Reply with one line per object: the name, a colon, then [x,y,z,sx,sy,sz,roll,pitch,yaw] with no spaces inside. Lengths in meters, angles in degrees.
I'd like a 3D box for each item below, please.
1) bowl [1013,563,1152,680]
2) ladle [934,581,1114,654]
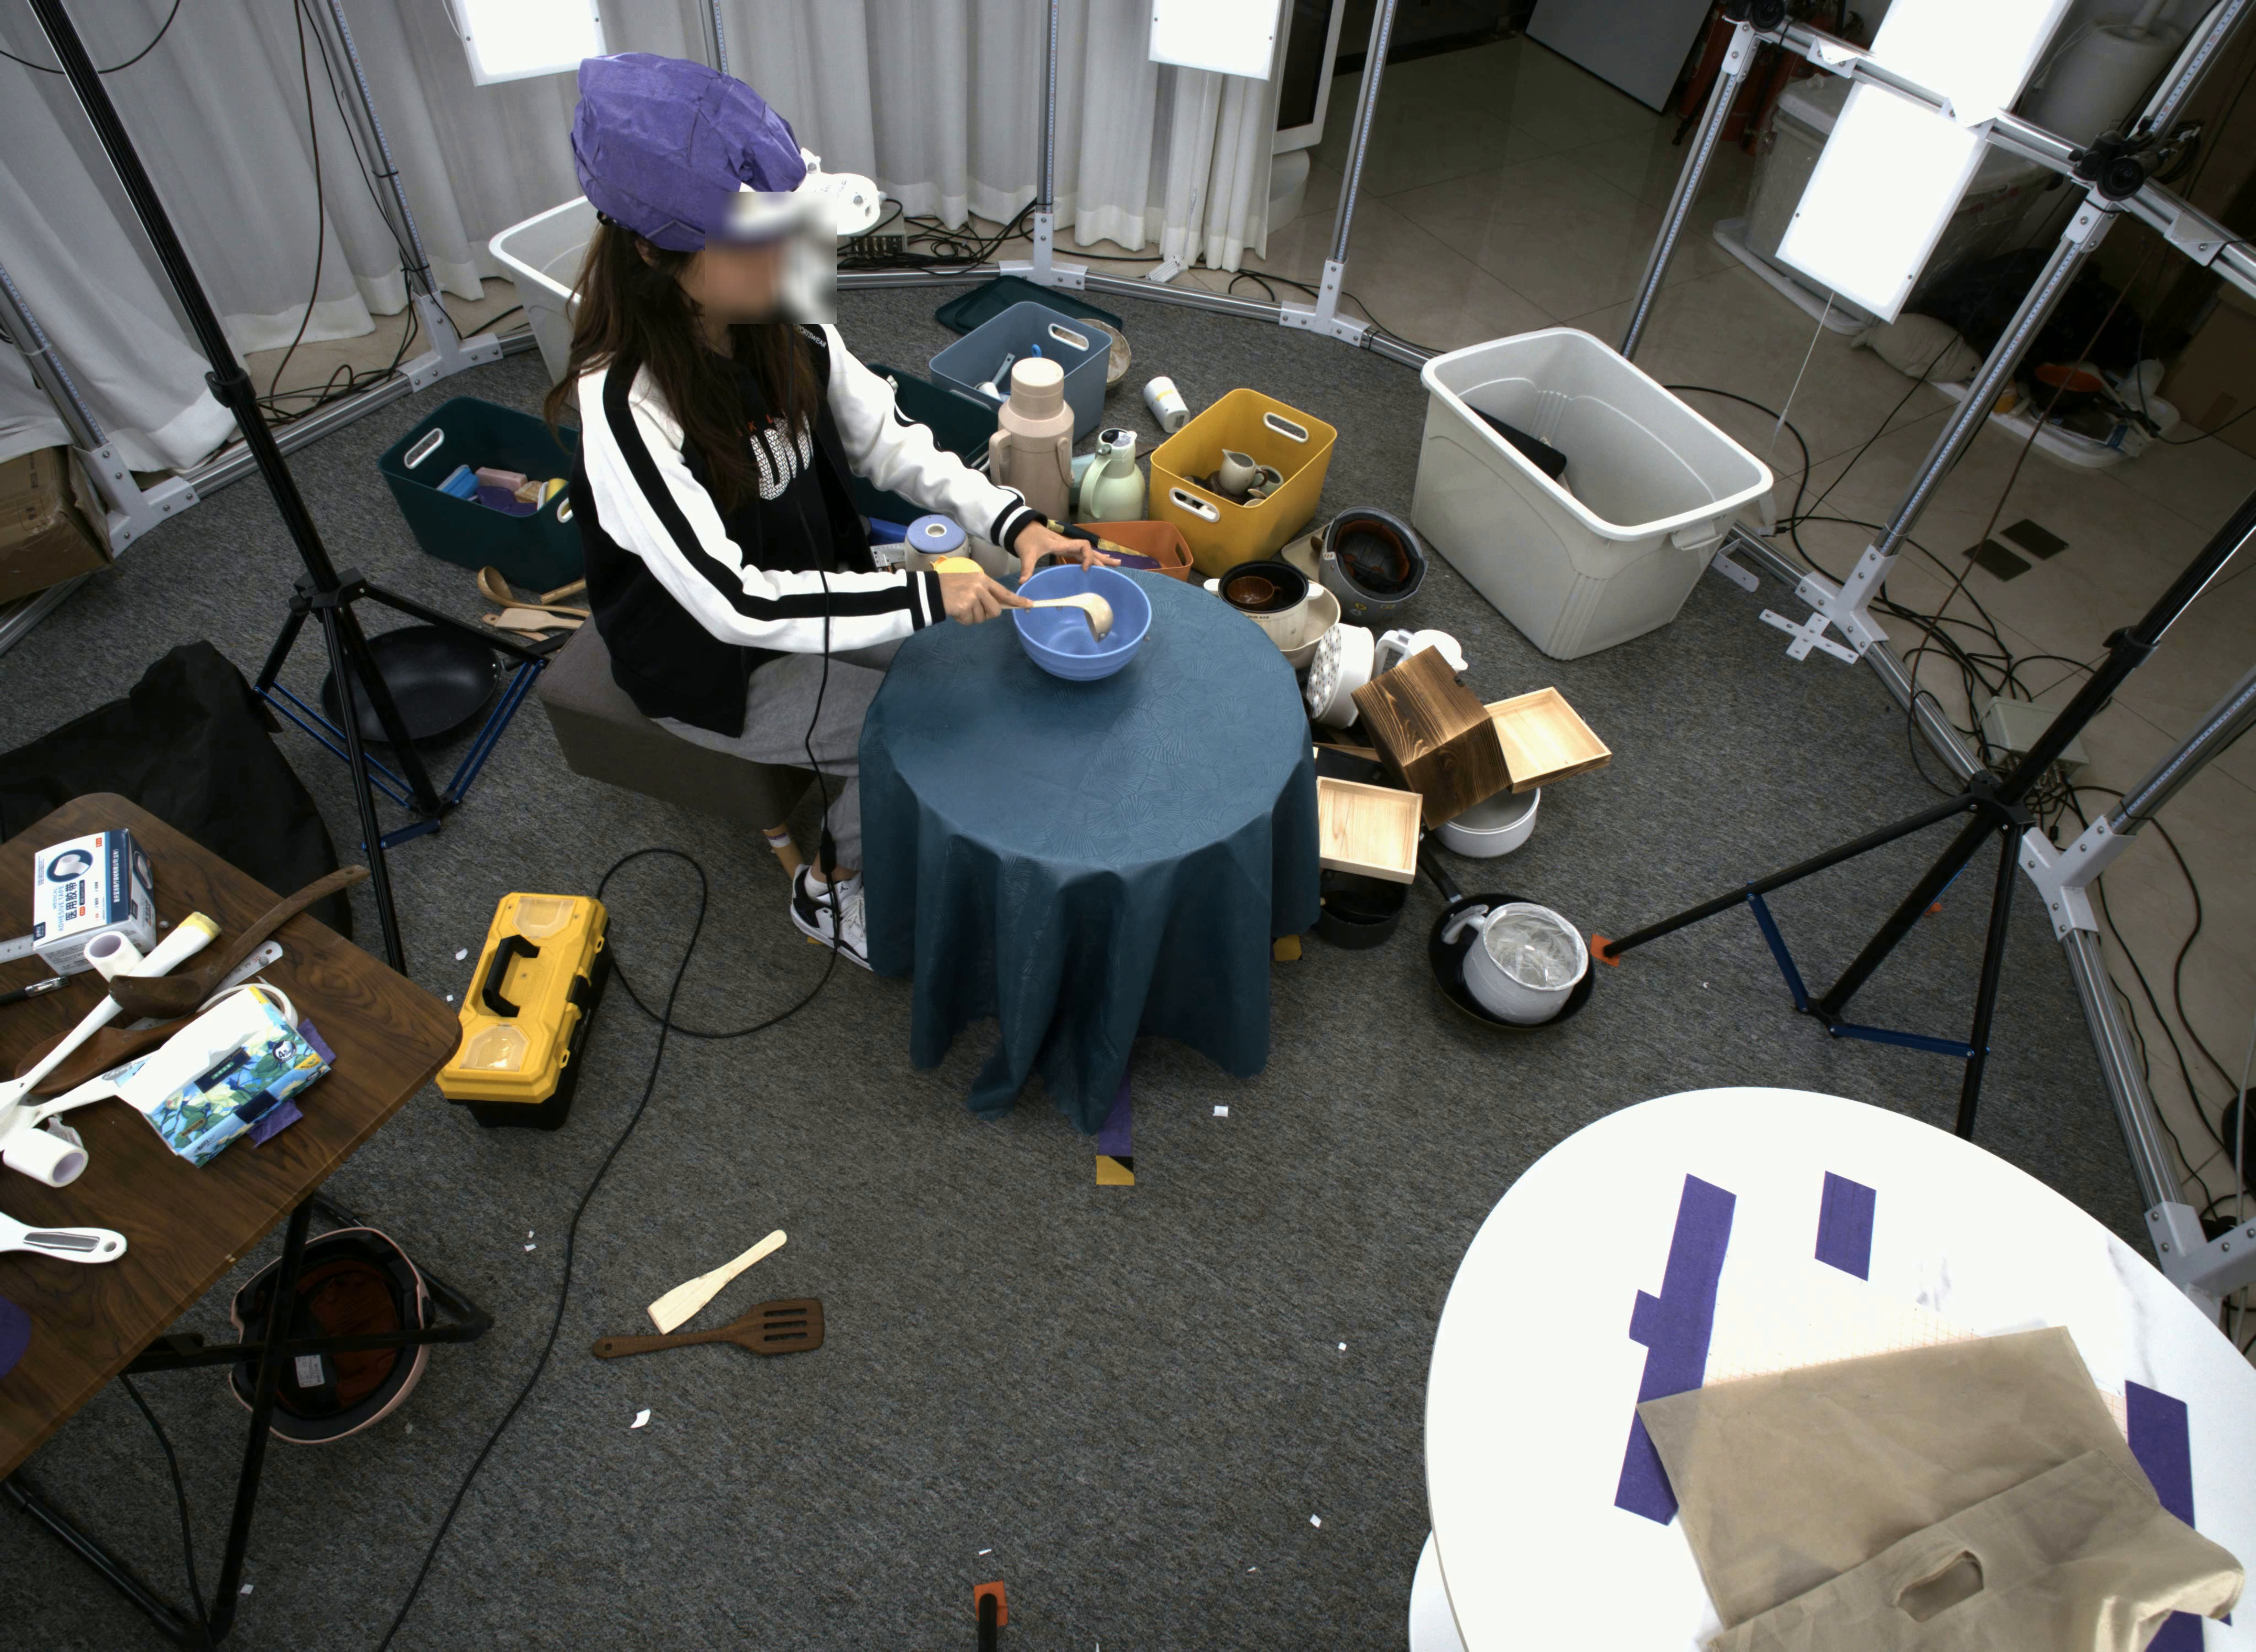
bowl: [-0.068,-0.277,1.843,0.196,0.093,0.201,3,49,-4]
ladle: [-0.145,-0.282,1.781,0.253,0.072,0.073,6,91,-15]
